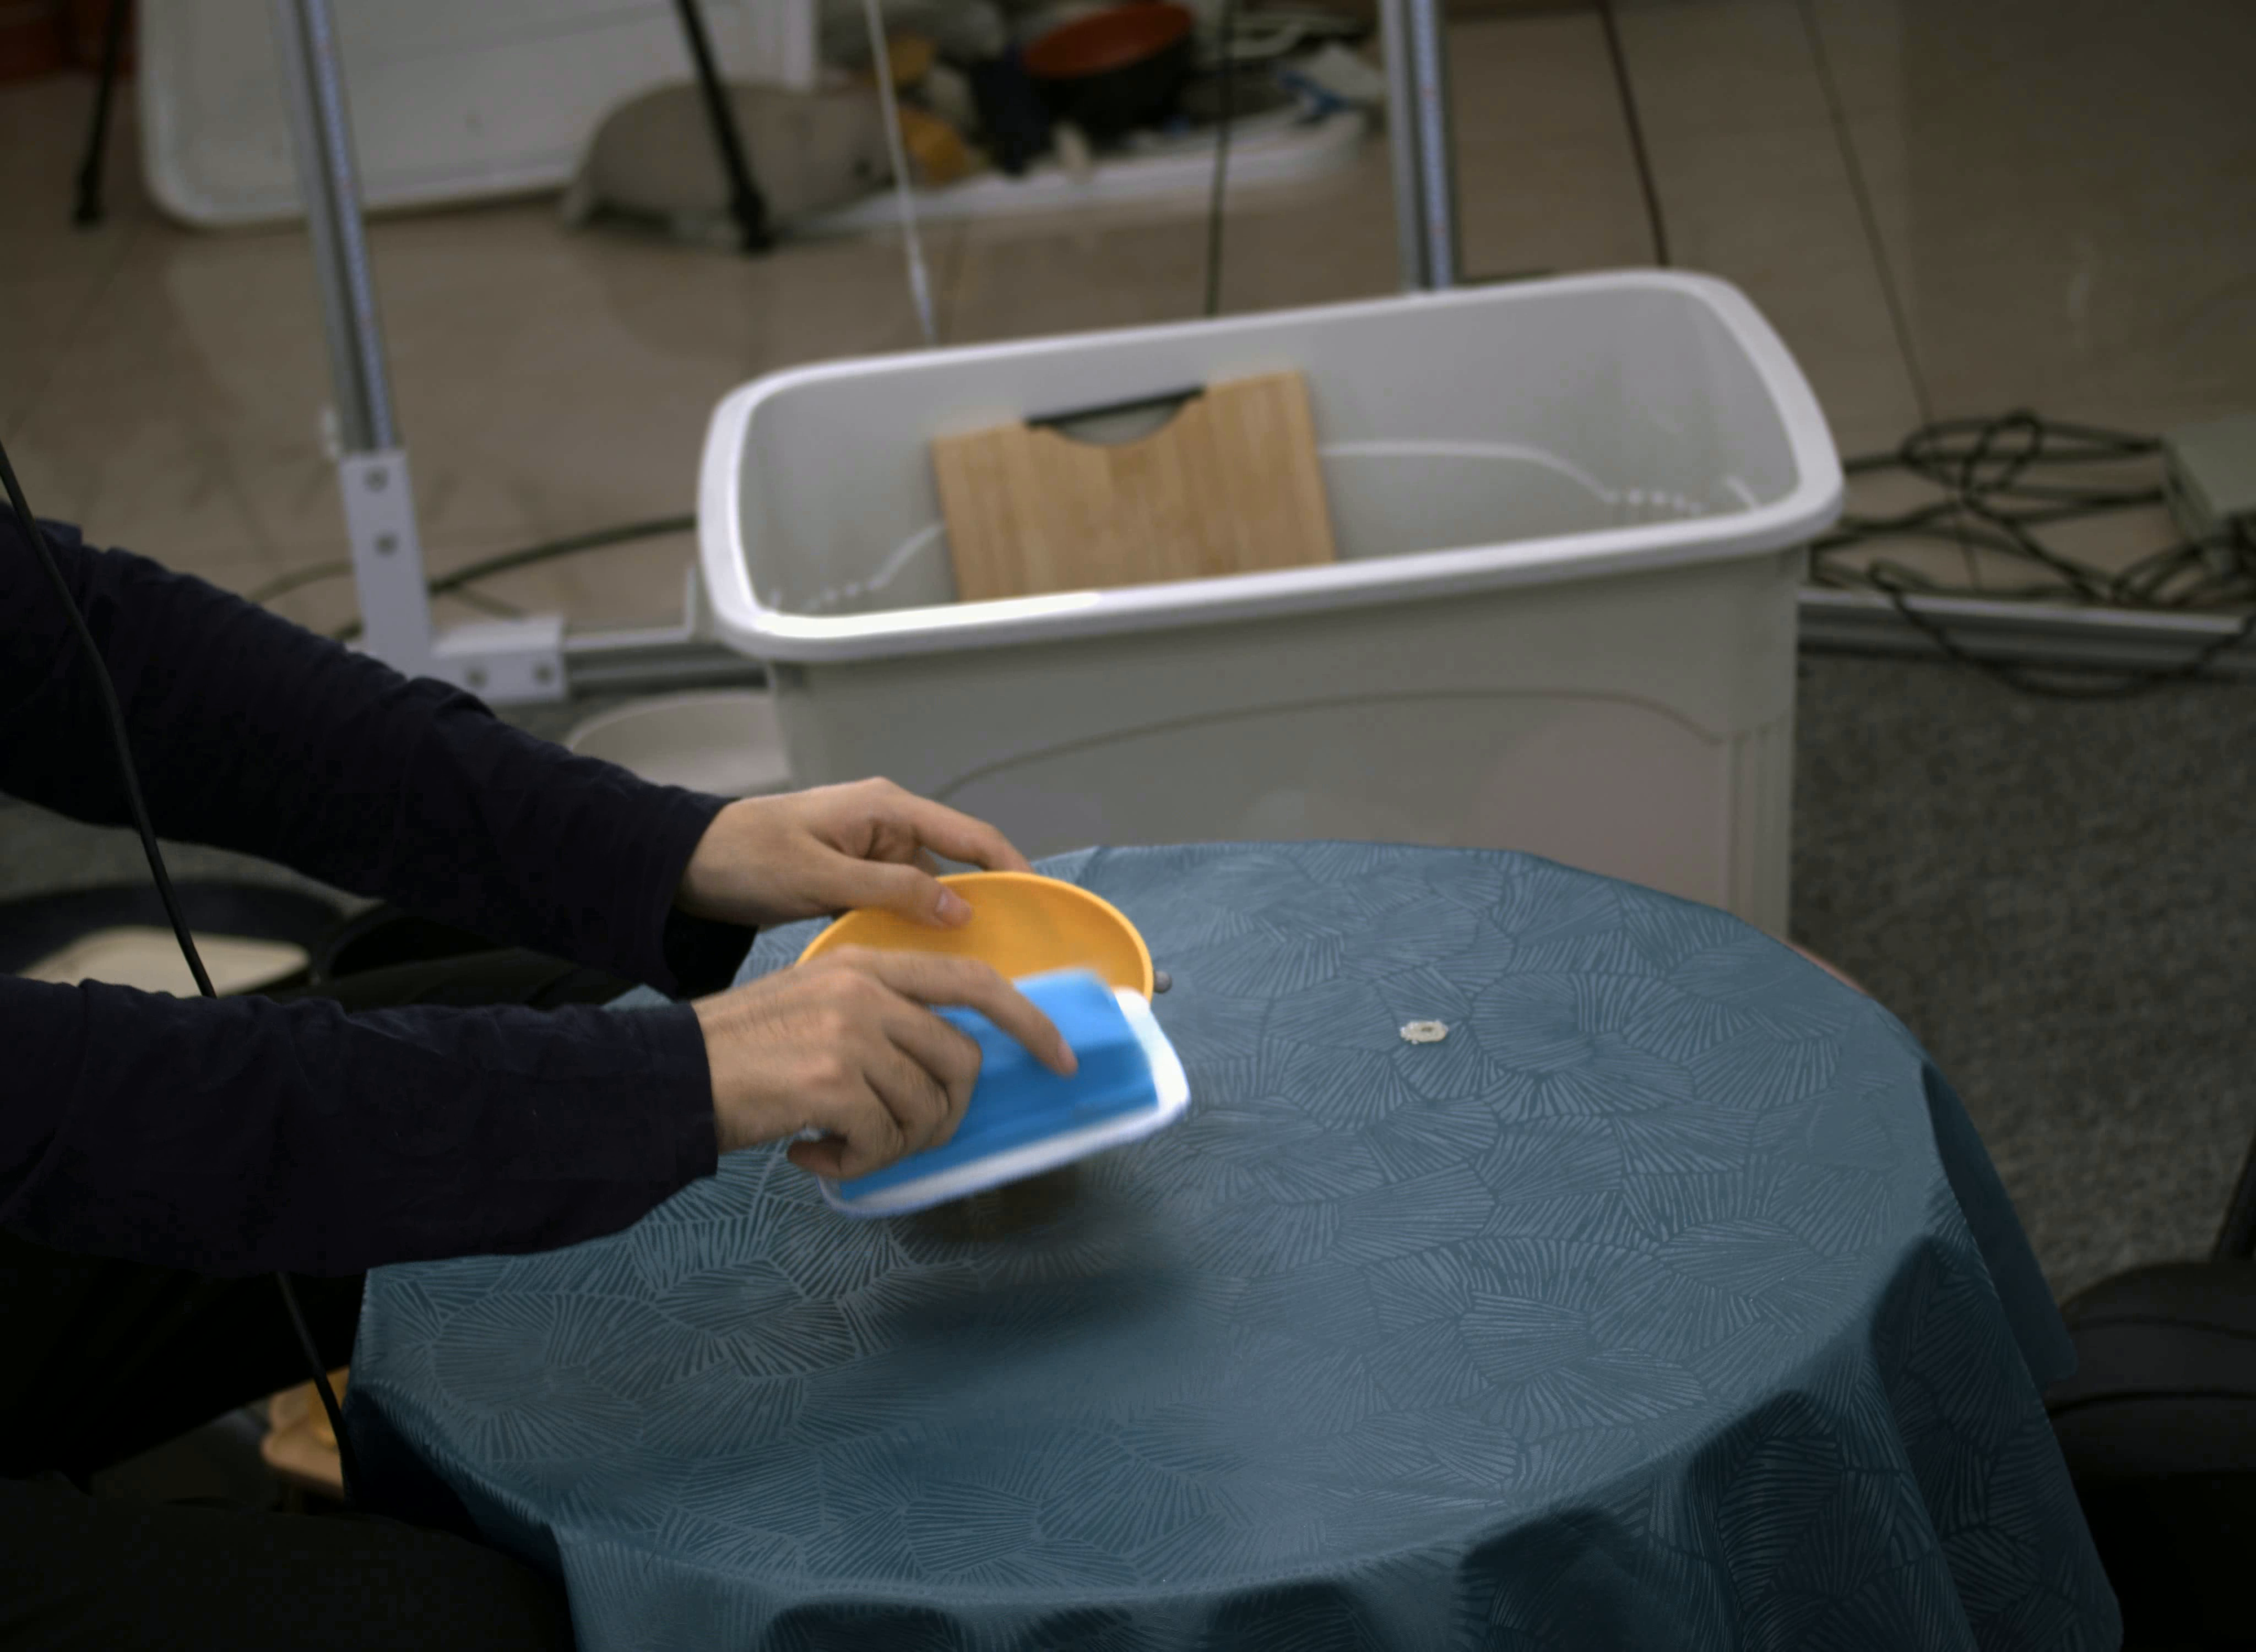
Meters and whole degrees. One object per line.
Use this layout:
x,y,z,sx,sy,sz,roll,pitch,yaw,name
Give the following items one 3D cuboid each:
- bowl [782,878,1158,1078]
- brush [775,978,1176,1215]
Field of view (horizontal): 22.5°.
-0.059,0.087,2.186,0.145,0.061,0.143,-2,38,2,bowl
-0.058,0.092,2.048,0.143,0.057,0.082,-12,36,-6,brush
